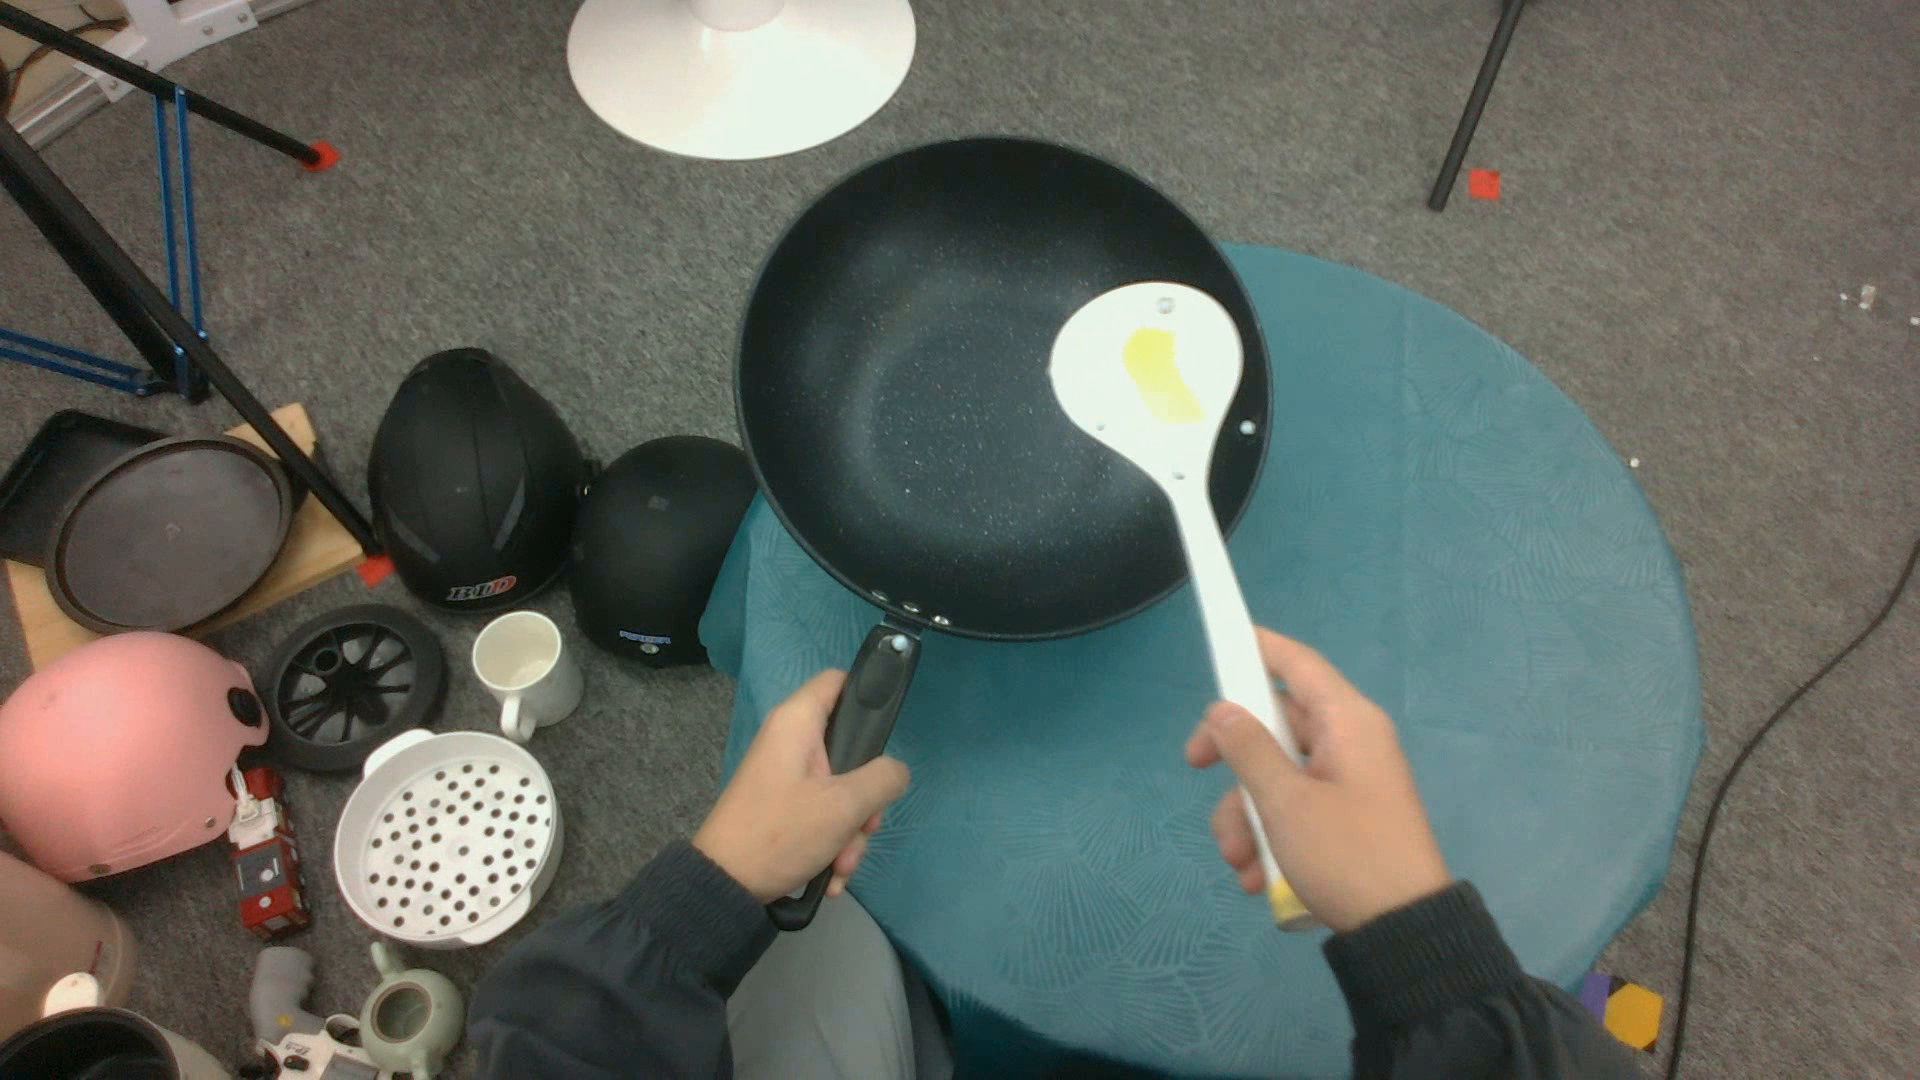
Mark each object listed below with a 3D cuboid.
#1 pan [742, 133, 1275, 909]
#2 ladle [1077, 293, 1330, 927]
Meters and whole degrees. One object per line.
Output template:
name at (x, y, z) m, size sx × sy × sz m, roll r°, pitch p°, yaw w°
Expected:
pan at (-0.001, -0.018, 0.794) m, size 0.310 × 0.111 × 0.478 m, roll 21°, pitch 72°, yaw 1°
ladle at (0.119, 0.024, 0.633) m, size 0.090 × 0.070 × 0.294 m, roll -11°, pitch 63°, yaw 5°
